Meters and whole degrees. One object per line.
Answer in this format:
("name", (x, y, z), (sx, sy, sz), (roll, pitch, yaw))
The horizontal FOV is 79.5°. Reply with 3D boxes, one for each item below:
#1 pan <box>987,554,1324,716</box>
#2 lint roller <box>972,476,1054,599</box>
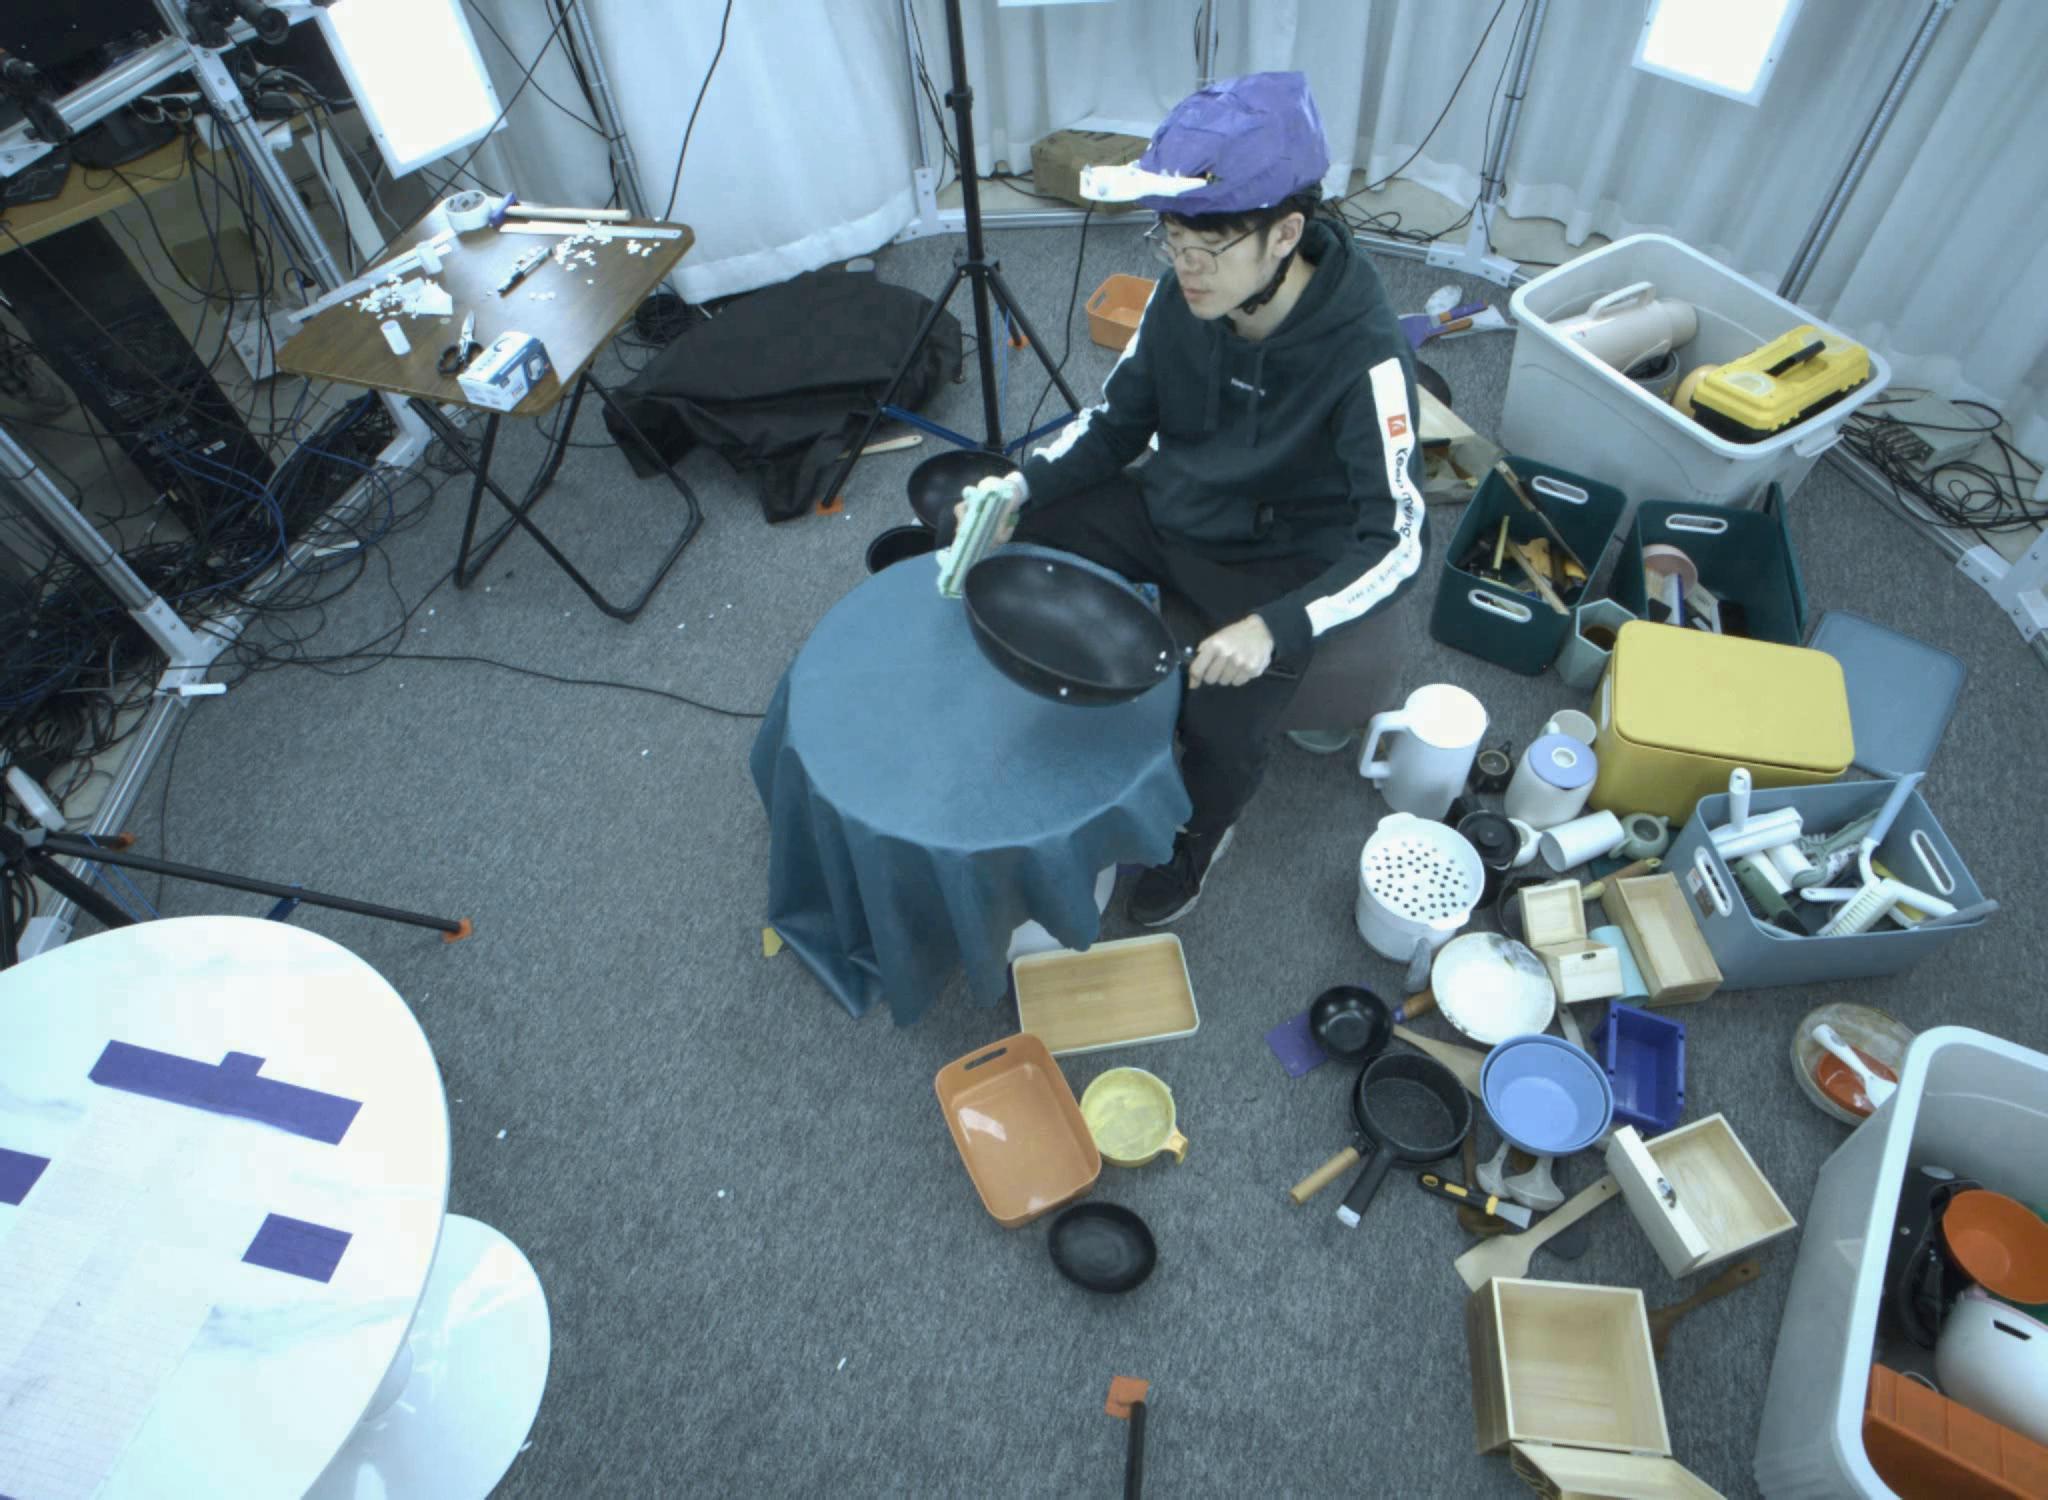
("pan", (0.168, -0.124, 1.668), (0.481, 0.111, 0.307), (18, 37, -10))
("lint roller", (-0.012, -0.348, 1.893), (0.082, 0.198, 0.183), (26, 33, 1))
